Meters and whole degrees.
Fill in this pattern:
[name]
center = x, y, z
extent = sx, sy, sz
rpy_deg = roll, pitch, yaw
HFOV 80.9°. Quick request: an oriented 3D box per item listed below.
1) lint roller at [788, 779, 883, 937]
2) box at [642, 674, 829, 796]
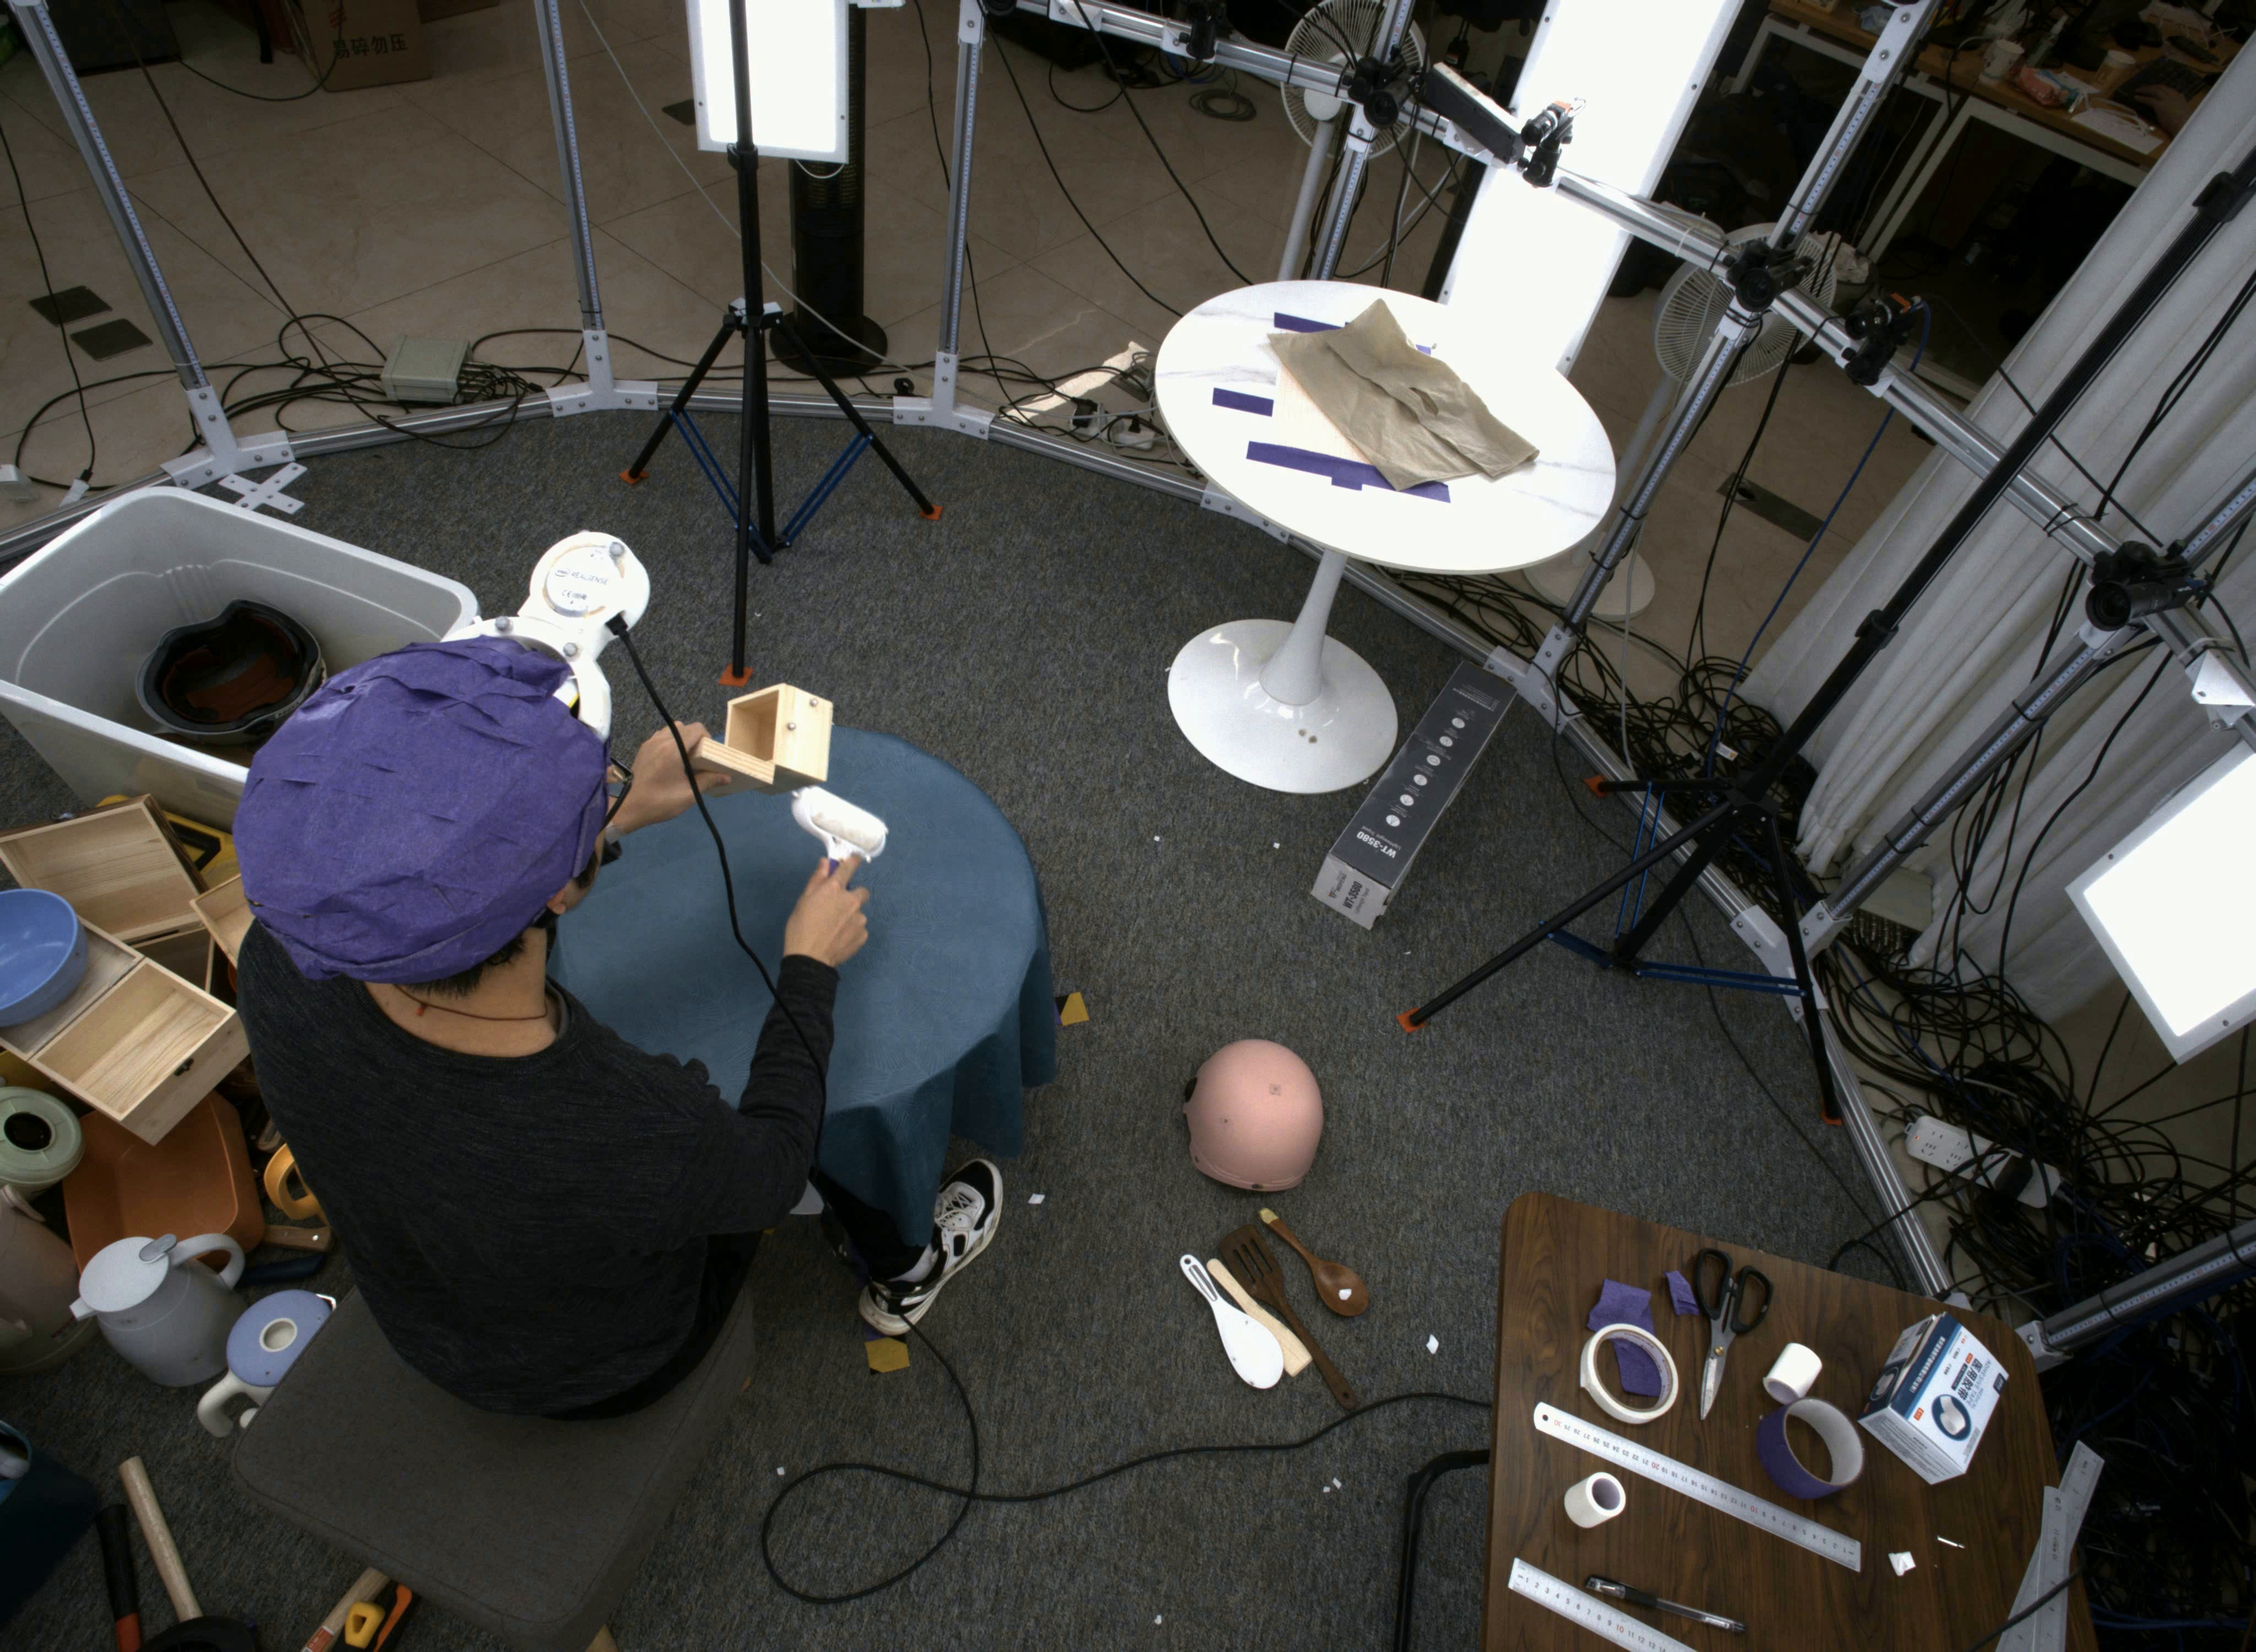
[lint roller]
center = -0.332, 0.038, 1.493
extent = 0.137, 0.049, 0.177
rpy_deg = 34, 36, -49
[box]
center = -0.450, -0.111, 1.485
extent = 0.190, 0.100, 0.133
rpy_deg = 20, 64, -51
